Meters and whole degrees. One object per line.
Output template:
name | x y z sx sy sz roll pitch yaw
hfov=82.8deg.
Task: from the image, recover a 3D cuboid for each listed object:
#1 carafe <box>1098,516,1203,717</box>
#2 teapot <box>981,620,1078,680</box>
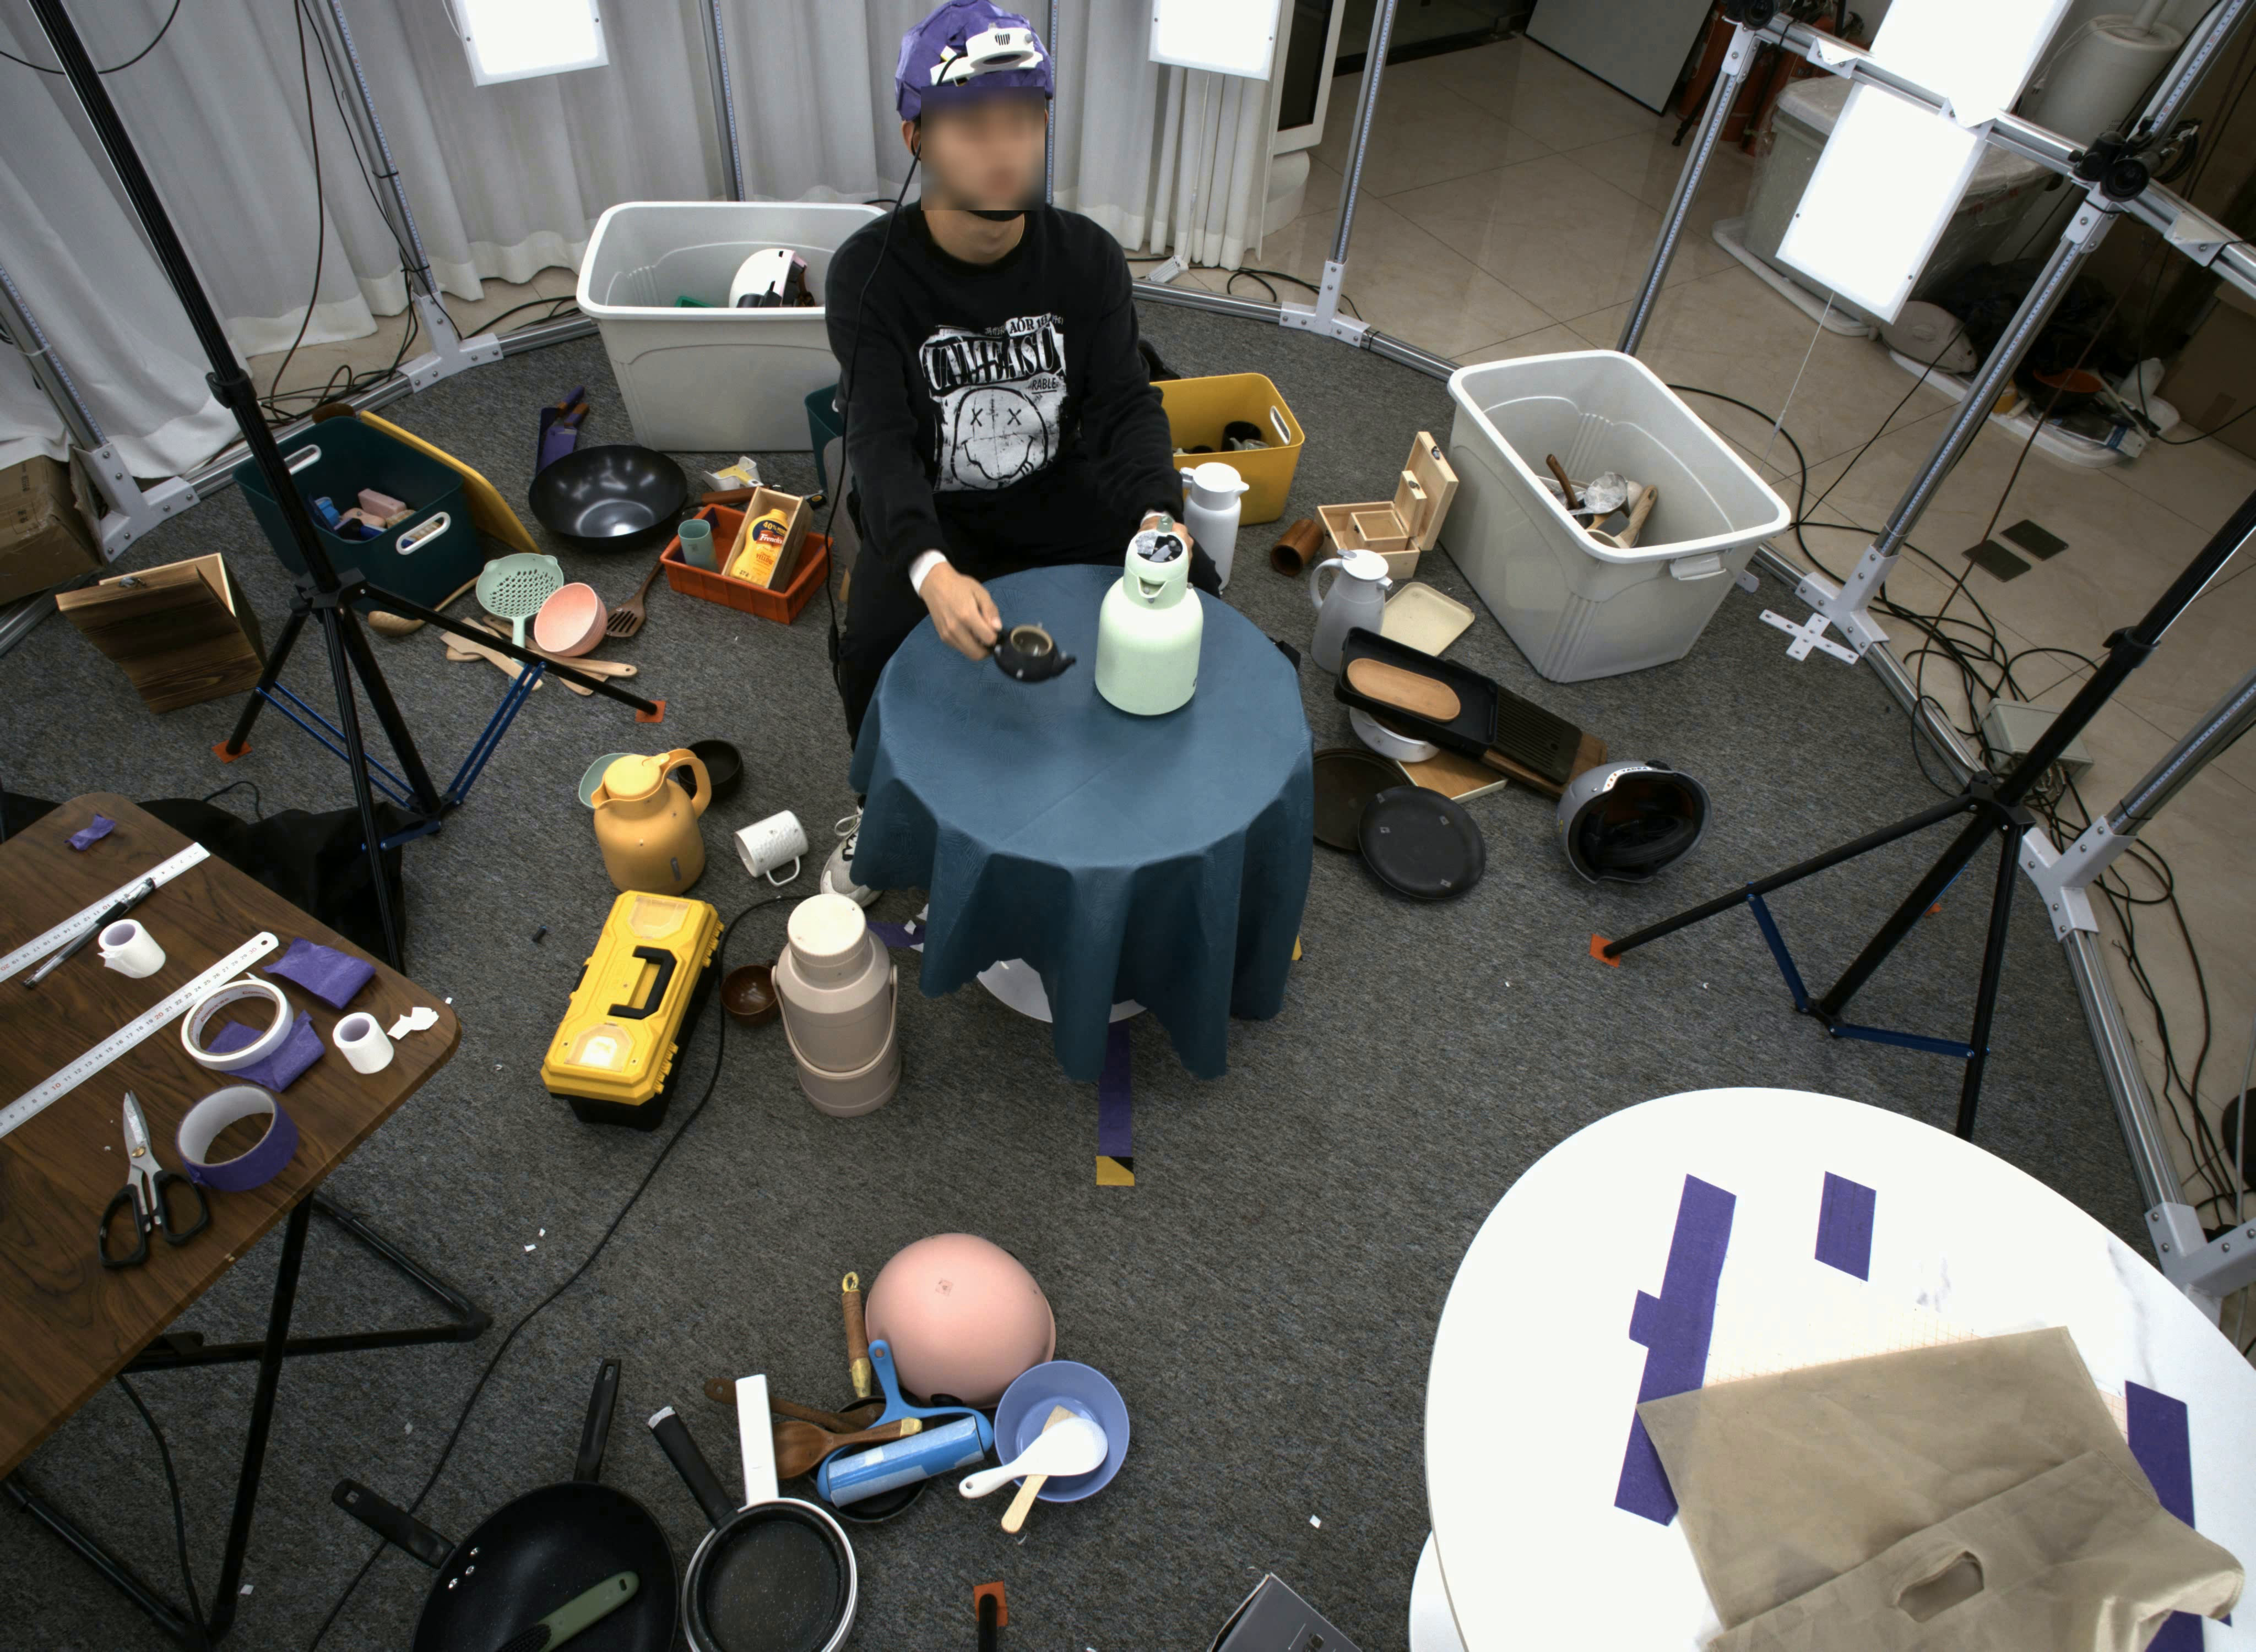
carafe | 0.035 -0.292 1.763 0.144 0.250 0.191 9 46 6
teapot | -0.135 -0.234 1.717 0.133 0.052 0.093 22 42 0
